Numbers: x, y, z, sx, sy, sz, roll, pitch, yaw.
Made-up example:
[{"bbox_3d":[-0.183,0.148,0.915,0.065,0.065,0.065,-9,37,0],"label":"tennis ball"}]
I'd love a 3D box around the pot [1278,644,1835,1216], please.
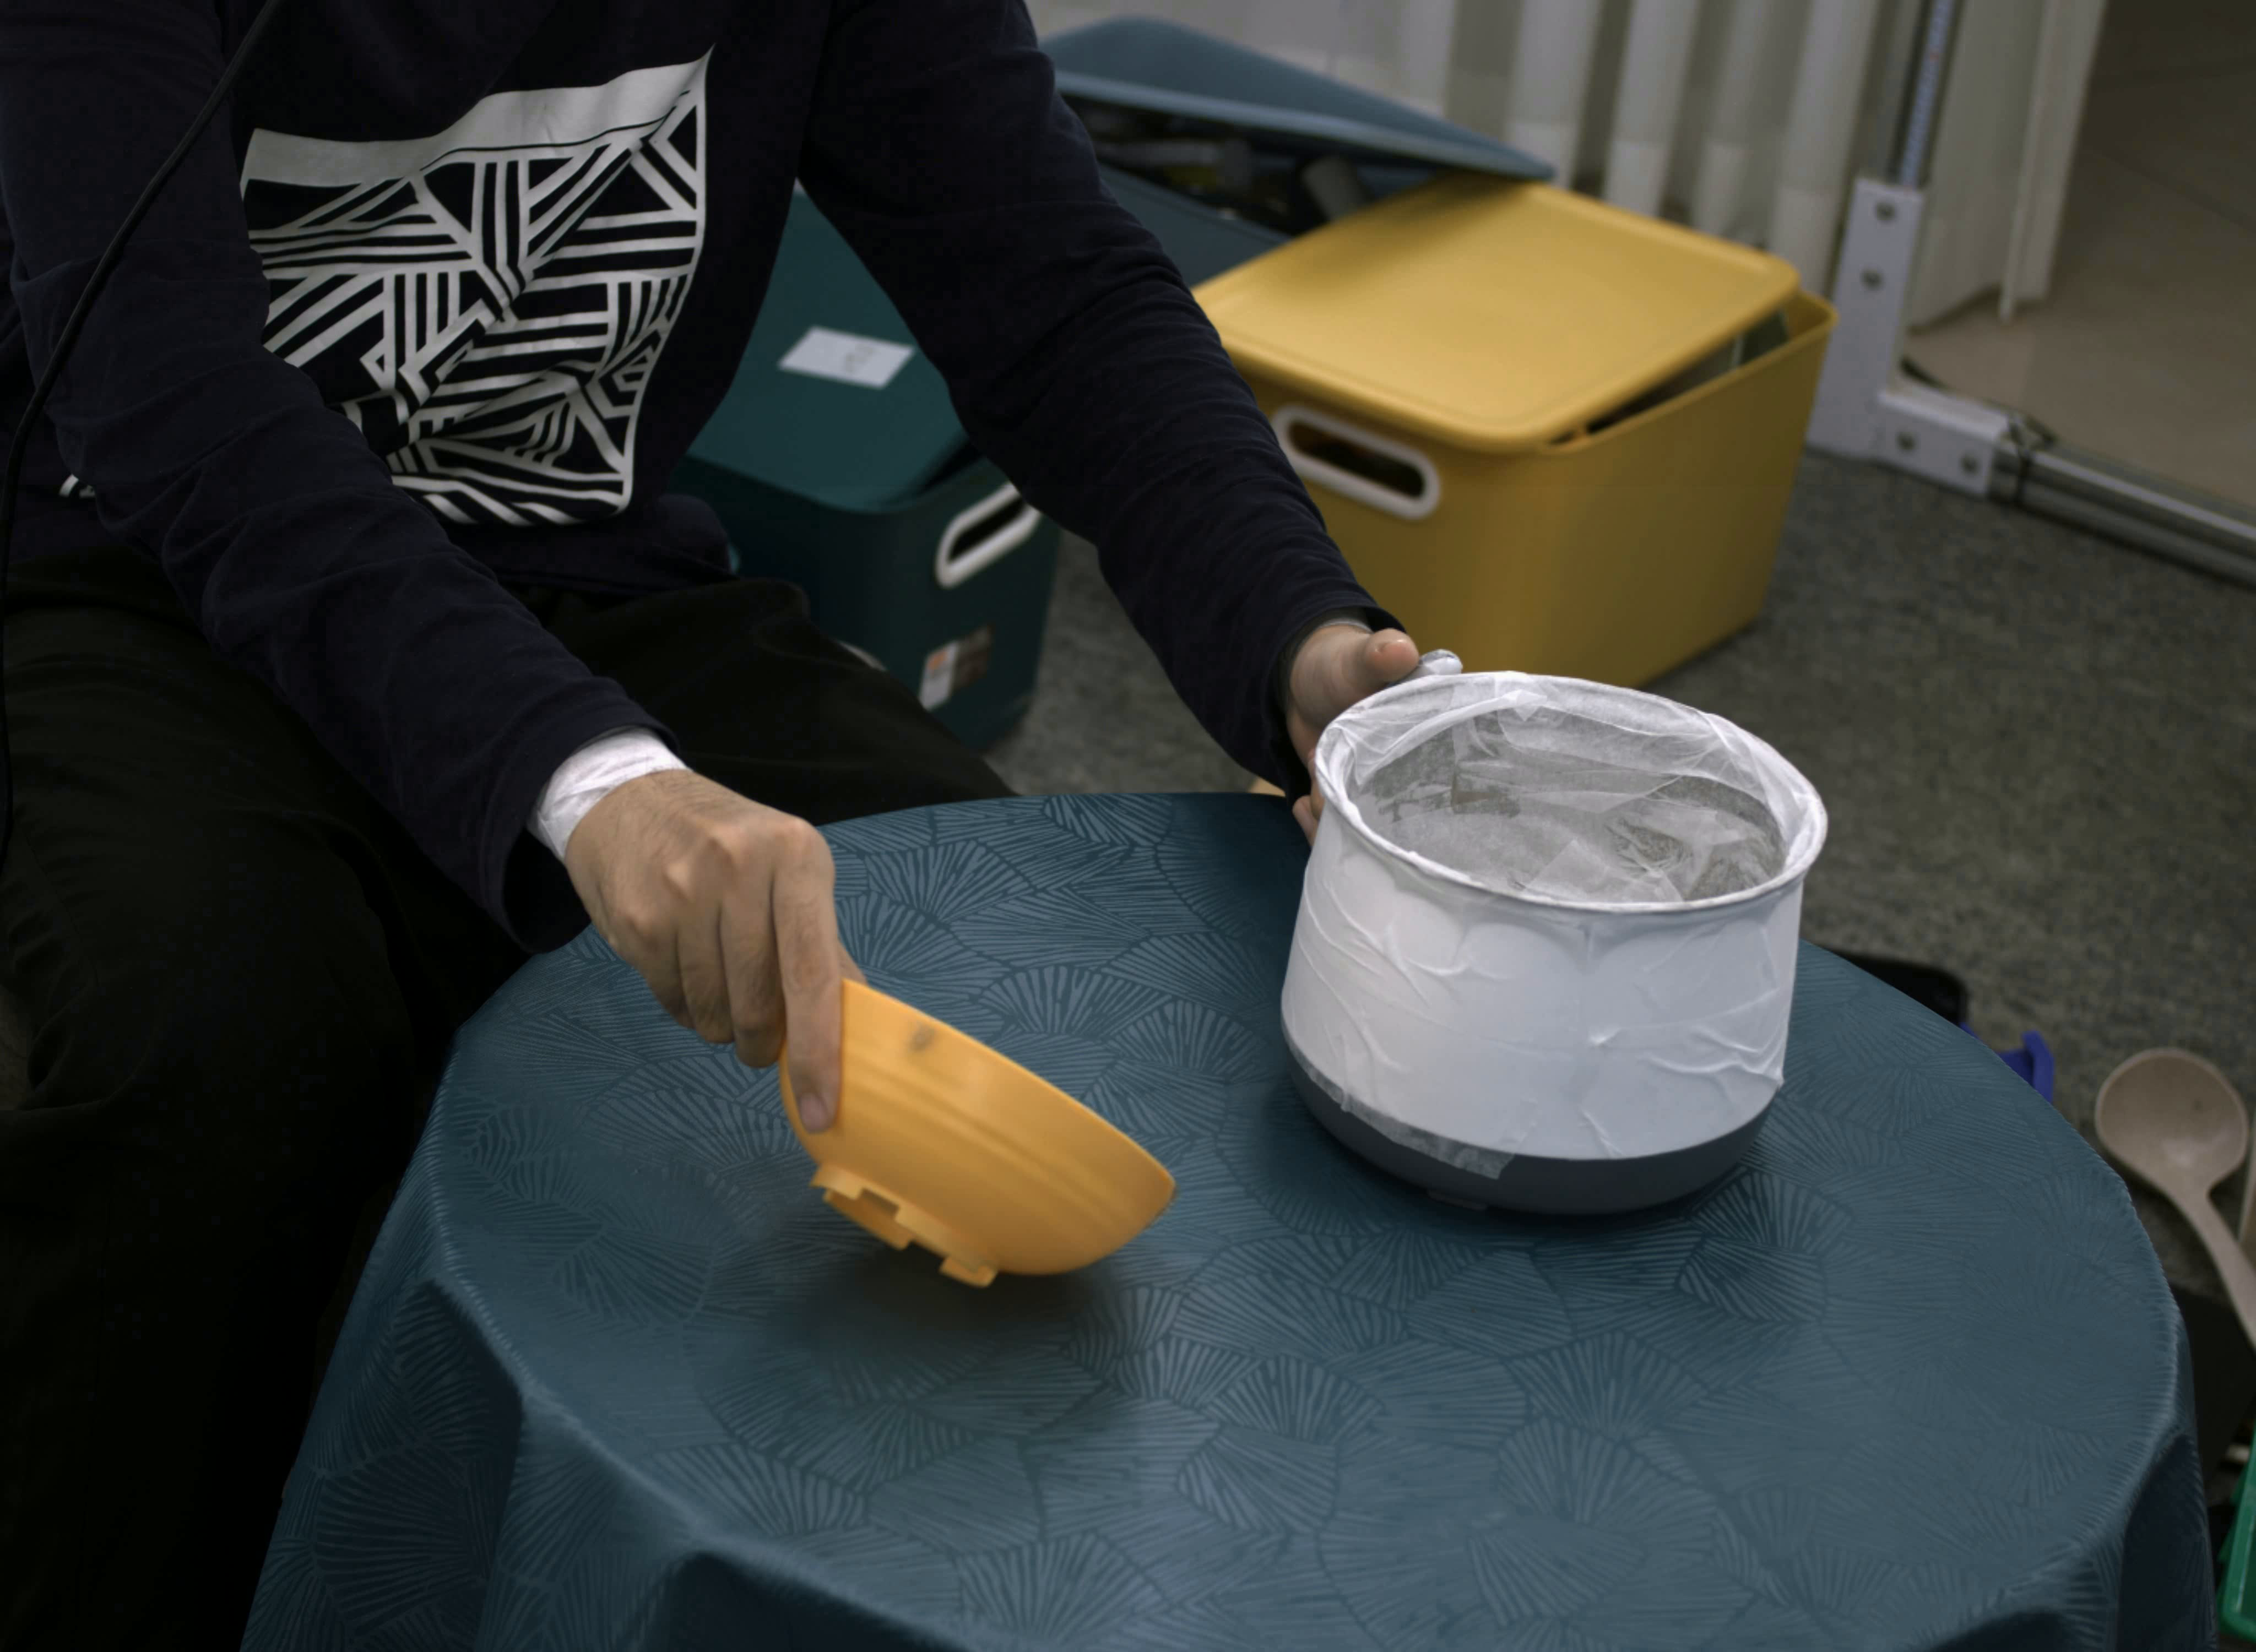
[{"bbox_3d":[0.133,0.029,1.869,0.177,0.136,0.236,-4,29,-26],"label":"pot"}]

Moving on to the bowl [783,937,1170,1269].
[{"bbox_3d":[-0.061,0.101,1.721,0.145,0.060,0.145,34,-9,6],"label":"bowl"}]
